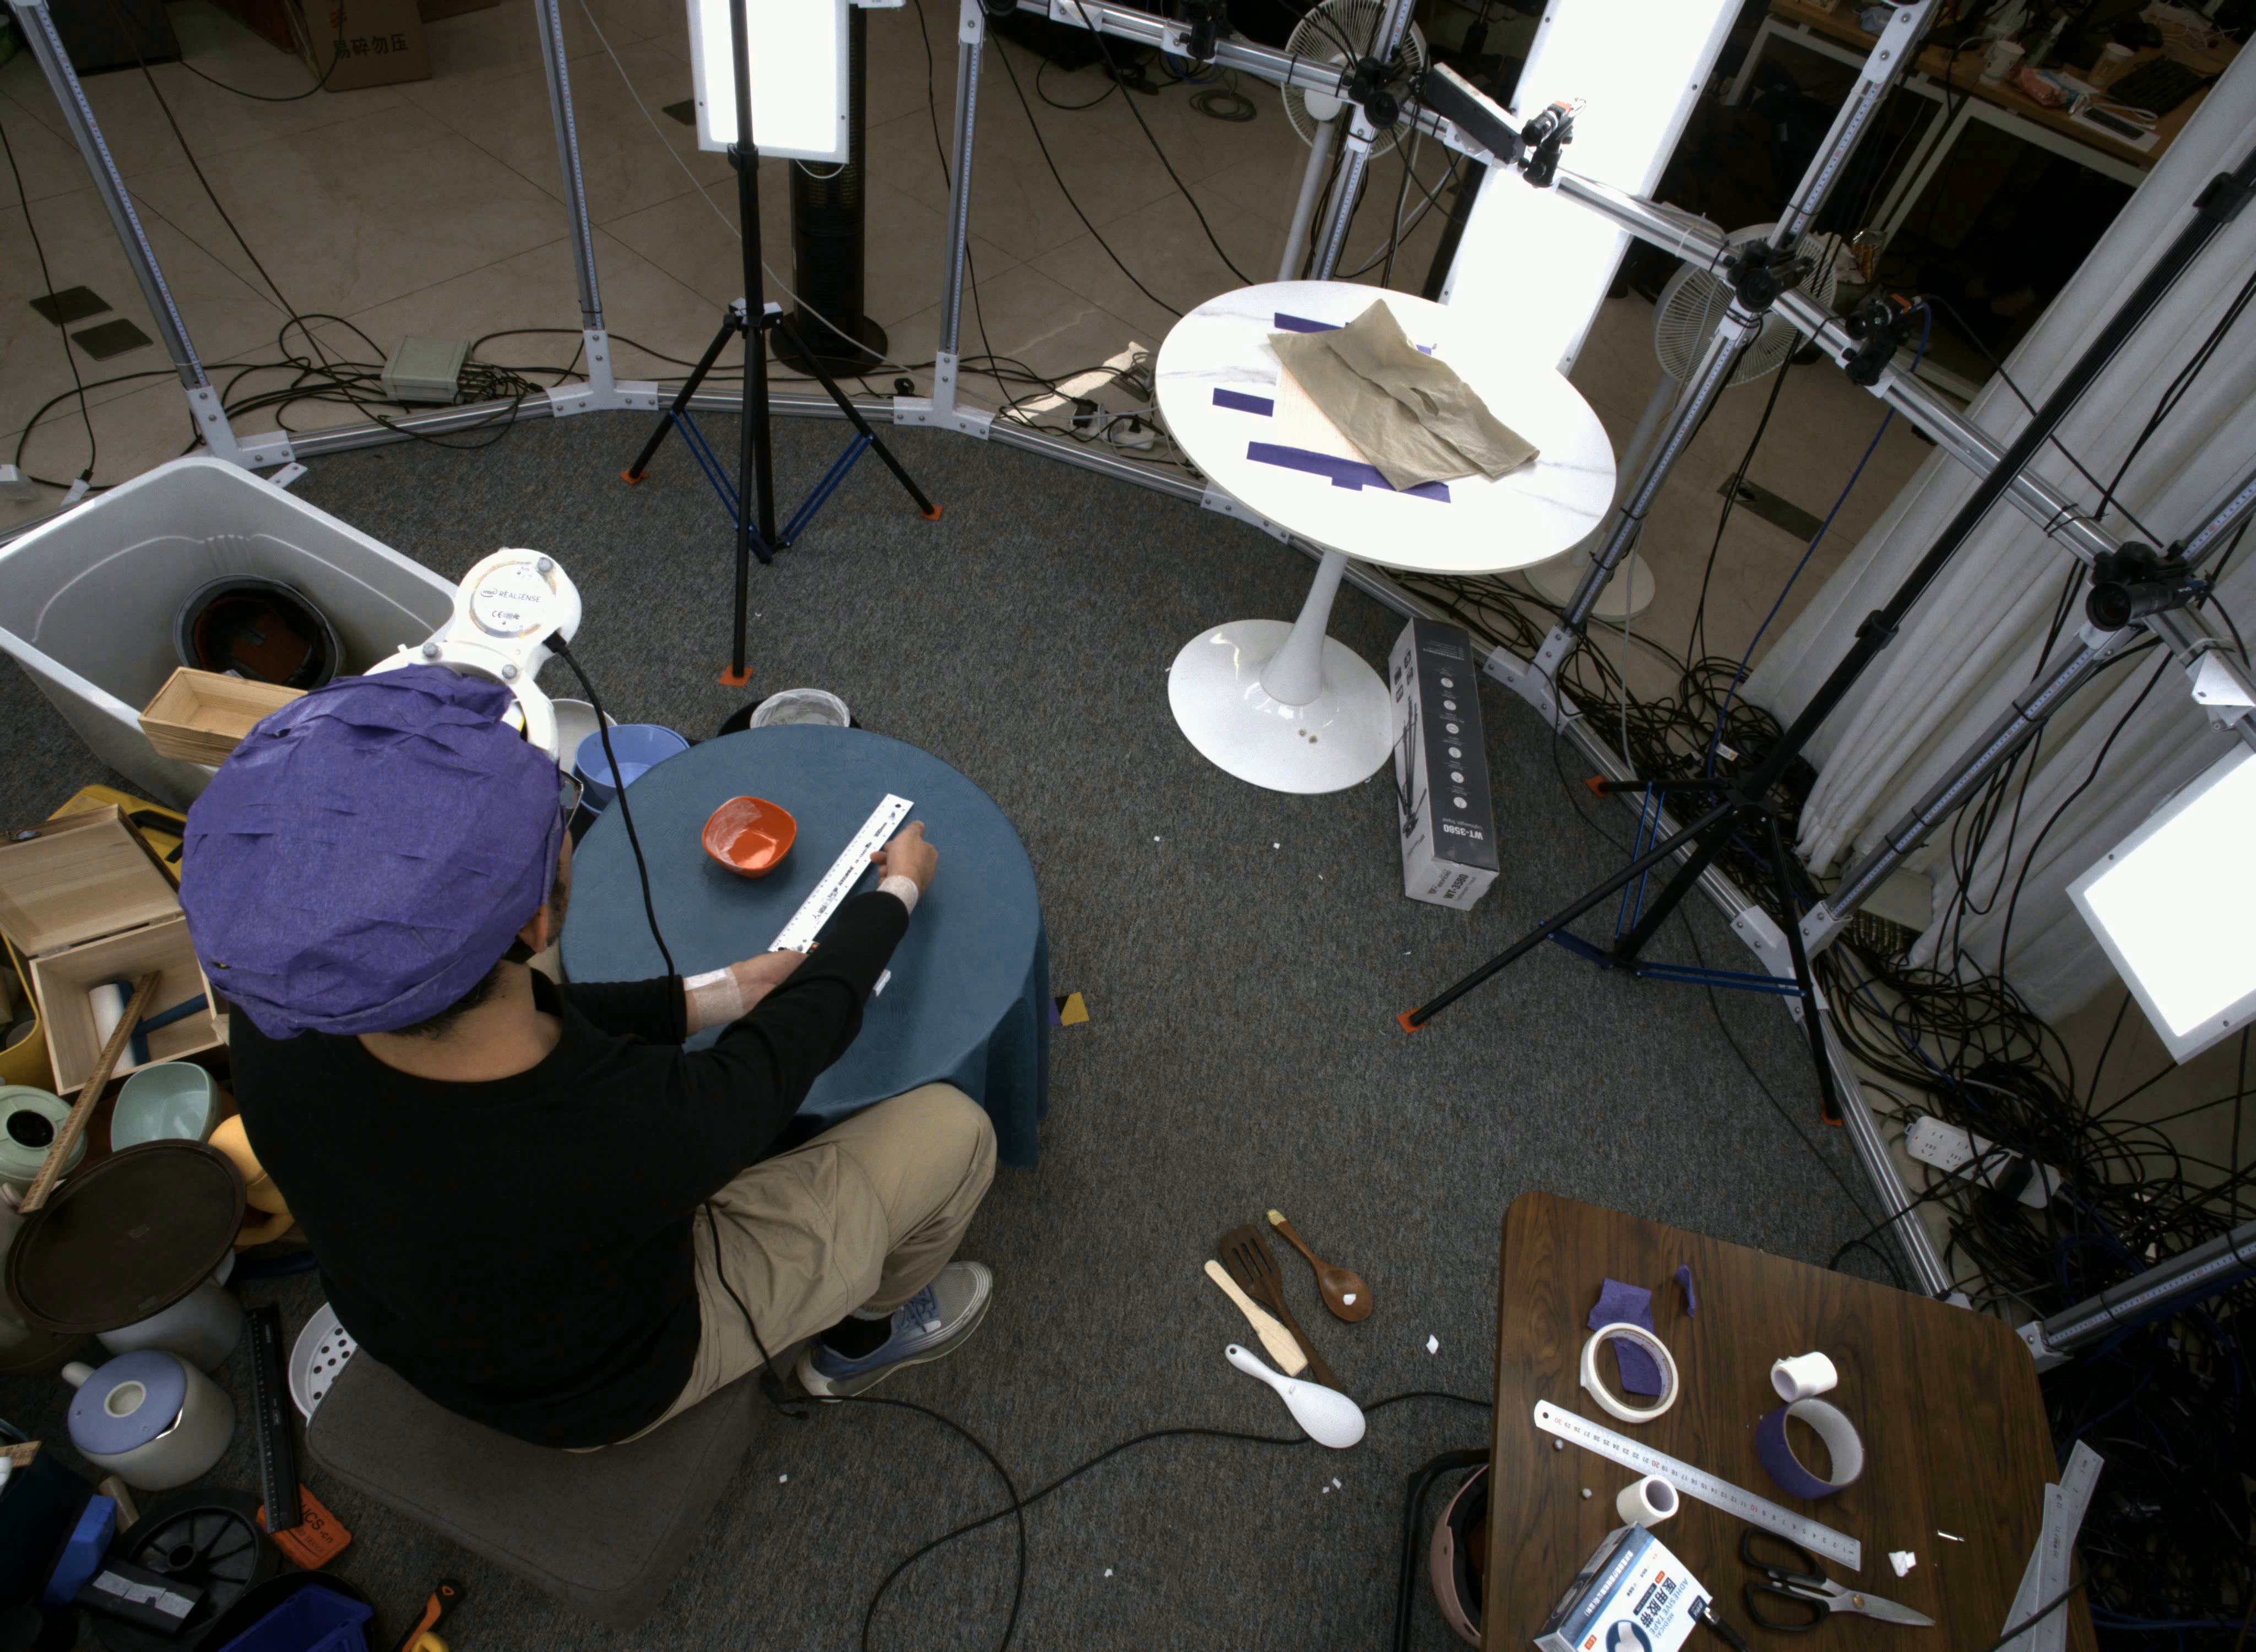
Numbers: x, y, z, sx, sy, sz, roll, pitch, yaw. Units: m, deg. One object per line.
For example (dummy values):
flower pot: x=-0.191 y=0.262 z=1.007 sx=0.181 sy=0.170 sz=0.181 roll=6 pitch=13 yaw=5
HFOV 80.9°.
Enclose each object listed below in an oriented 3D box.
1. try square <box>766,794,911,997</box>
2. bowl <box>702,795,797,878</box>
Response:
try square: x=-0.317 y=0.078 z=1.662 sx=0.149 sy=0.016 sz=0.310 roll=20 pitch=46 yaw=9
bowl: x=-0.483 y=0.020 z=1.653 sx=0.119 sy=0.052 sz=0.116 roll=10 pitch=49 yaw=-10
